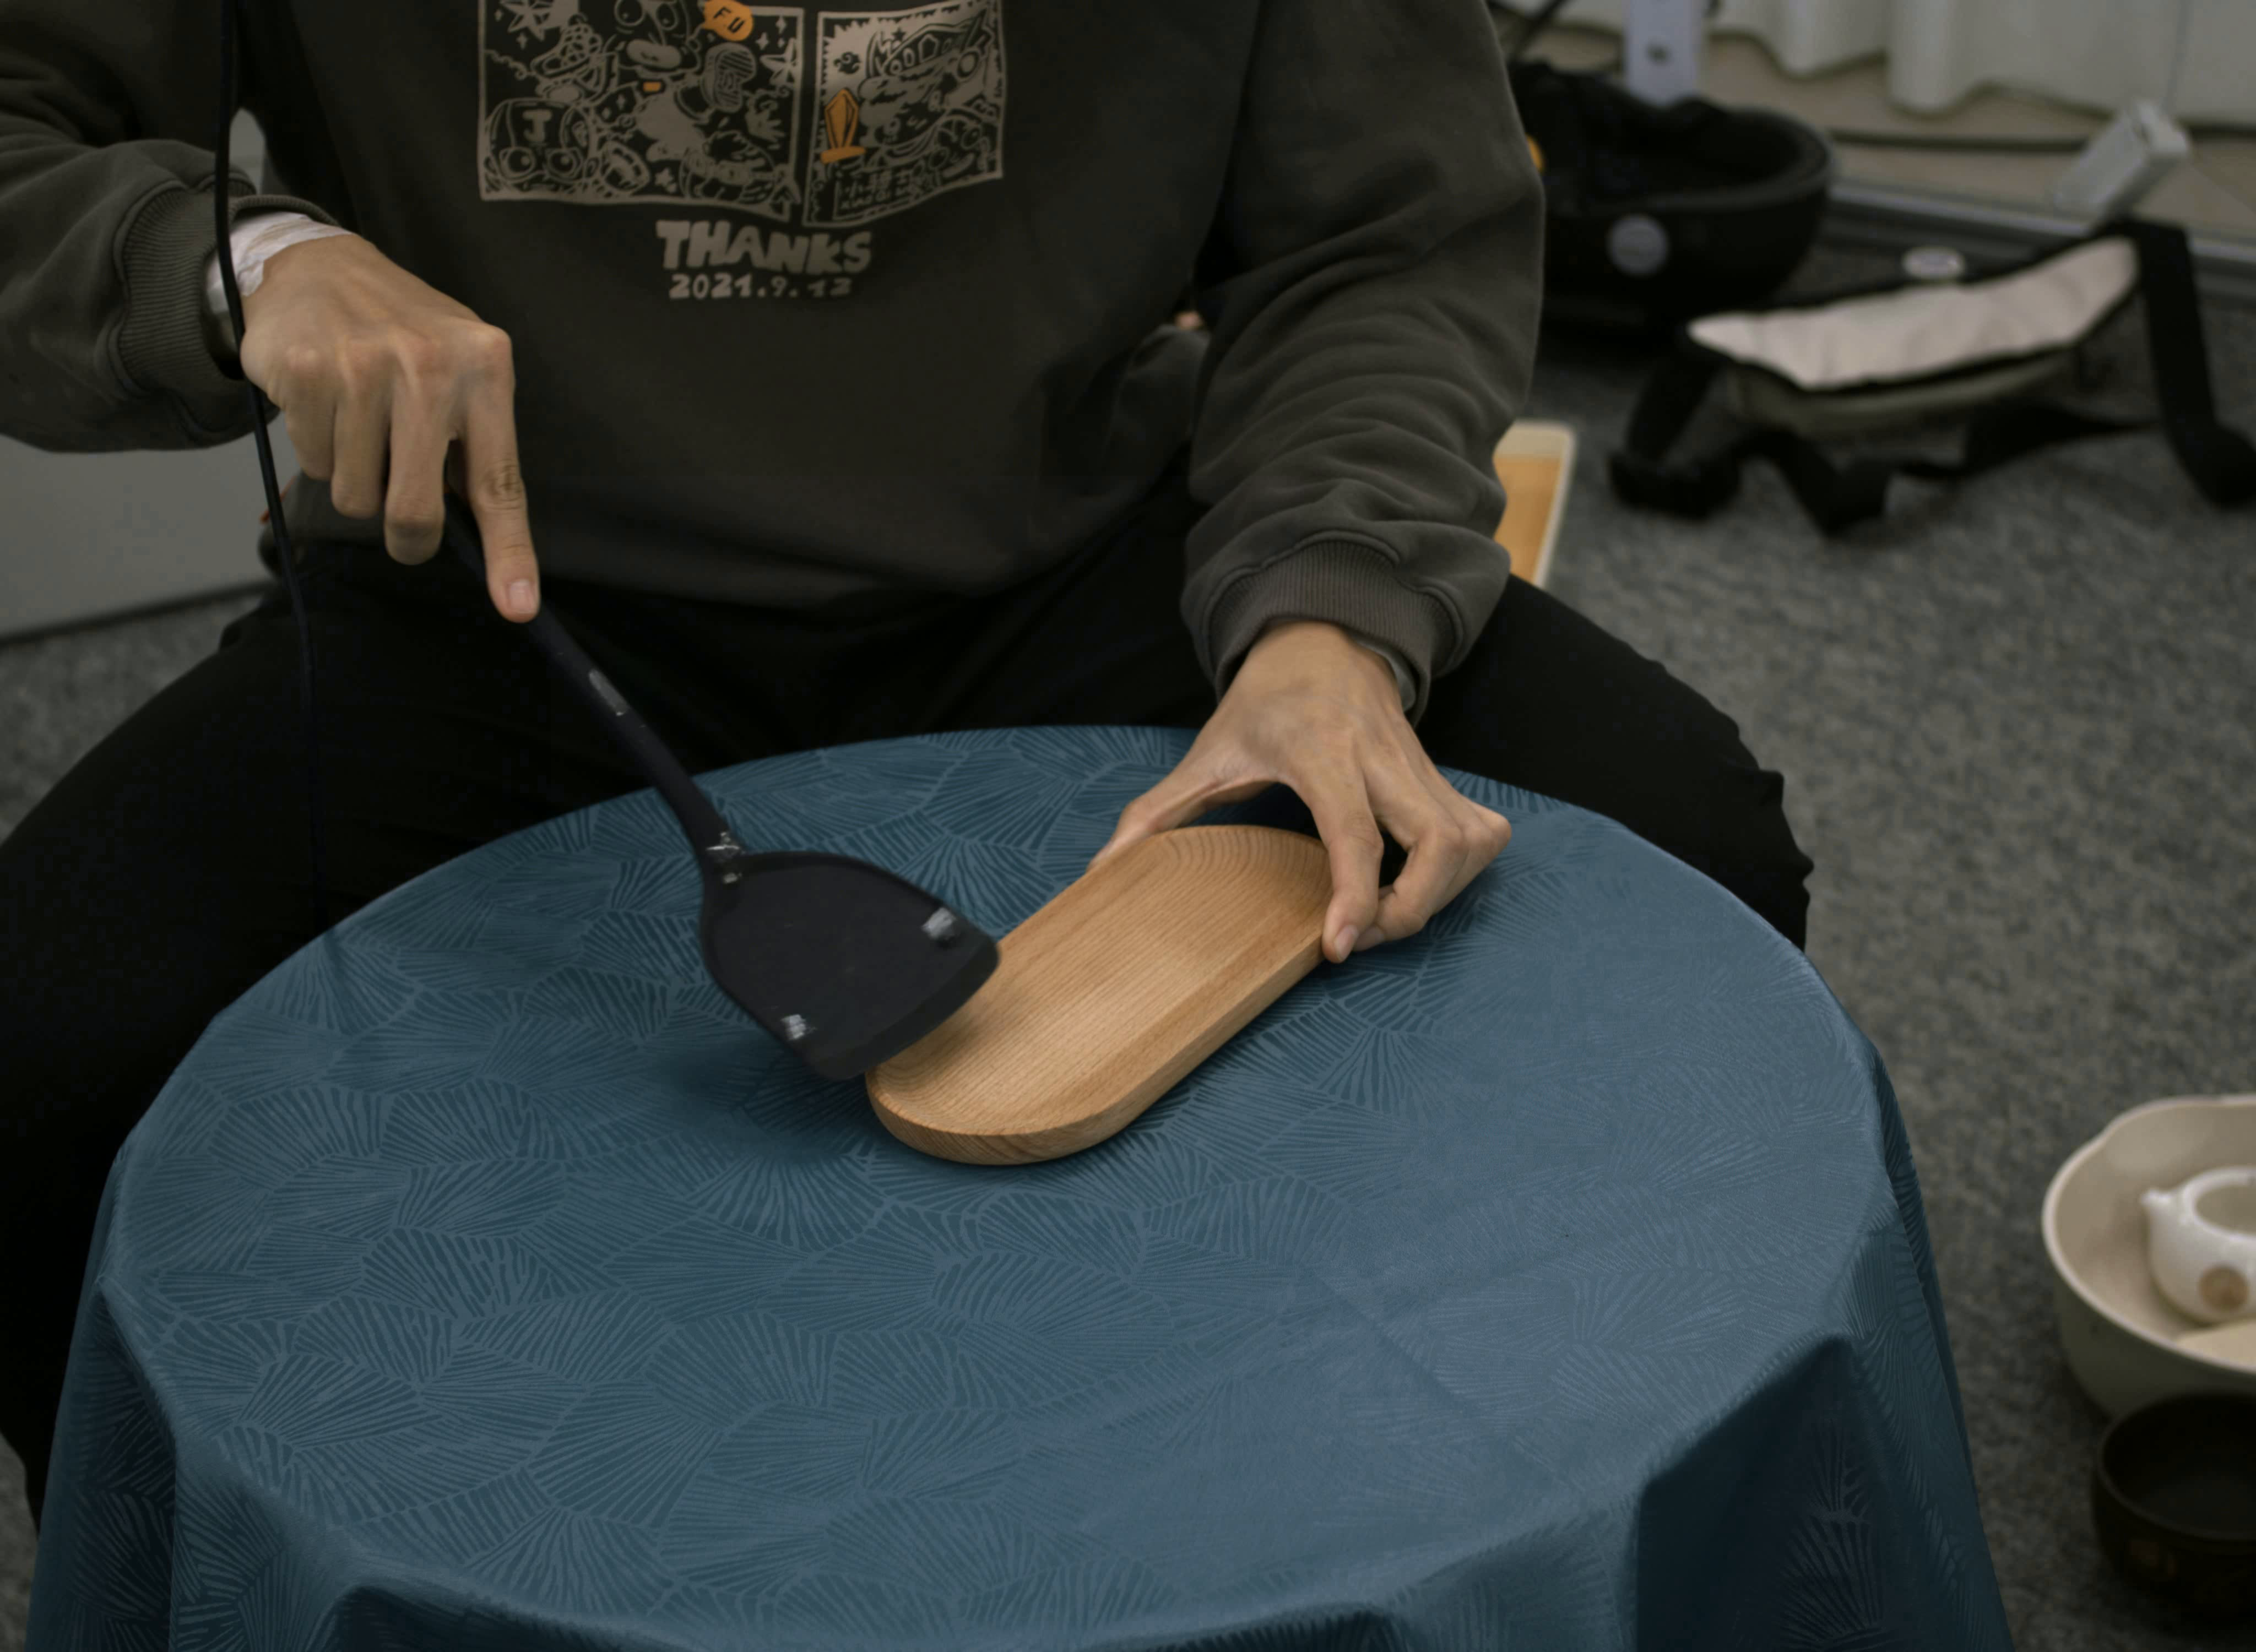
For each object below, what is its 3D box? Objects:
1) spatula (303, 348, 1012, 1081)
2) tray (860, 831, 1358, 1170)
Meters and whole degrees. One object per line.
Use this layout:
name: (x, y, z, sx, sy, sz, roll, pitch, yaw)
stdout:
spatula: (-0.175, -0.047, 1.940, 0.327, 0.039, 0.101, 50, 47, 5)
tray: (-0.004, 0.059, 1.962, 0.101, 0.020, 0.235, 13, 33, 31)
